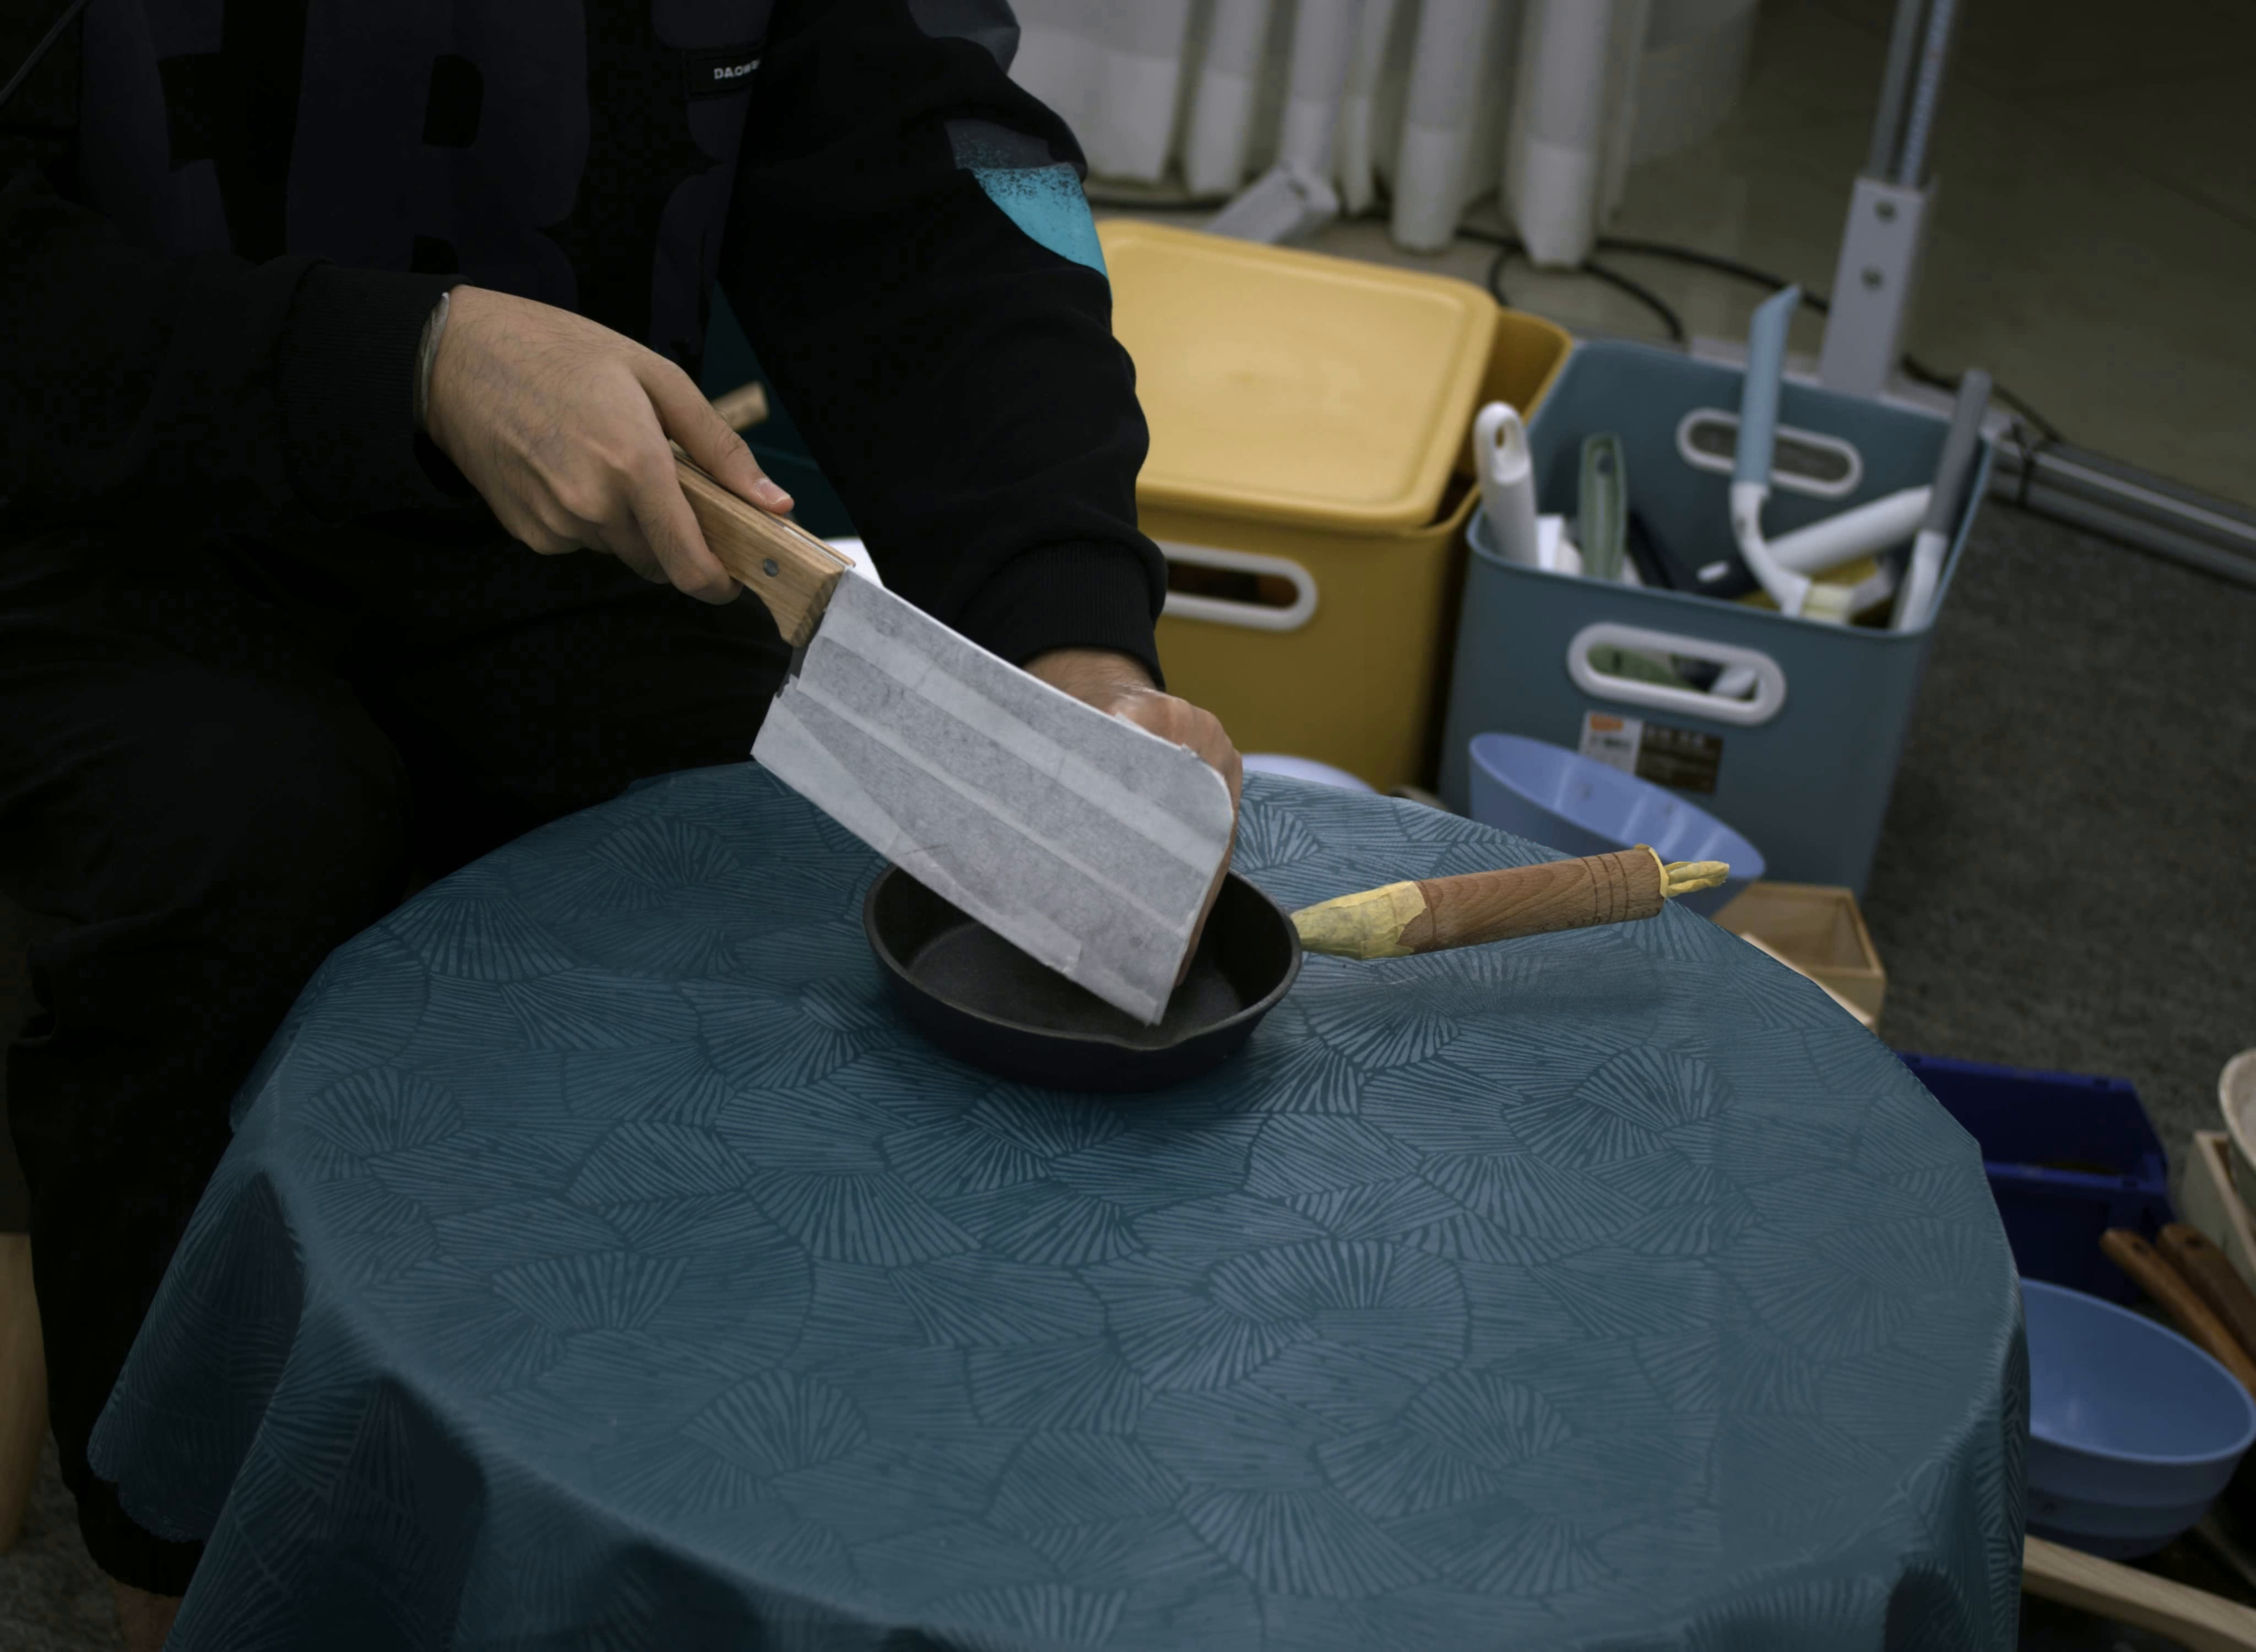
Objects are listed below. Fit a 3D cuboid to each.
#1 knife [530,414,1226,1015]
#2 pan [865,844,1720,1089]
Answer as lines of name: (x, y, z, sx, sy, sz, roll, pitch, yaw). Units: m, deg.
knife: (-0.093, -0.052, 1.907, 0.317, 0.114, 0.021, 37, 26, 18)
pan: (0.063, 0.040, 1.926, 0.322, 0.049, 0.170, -3, 28, -16)
